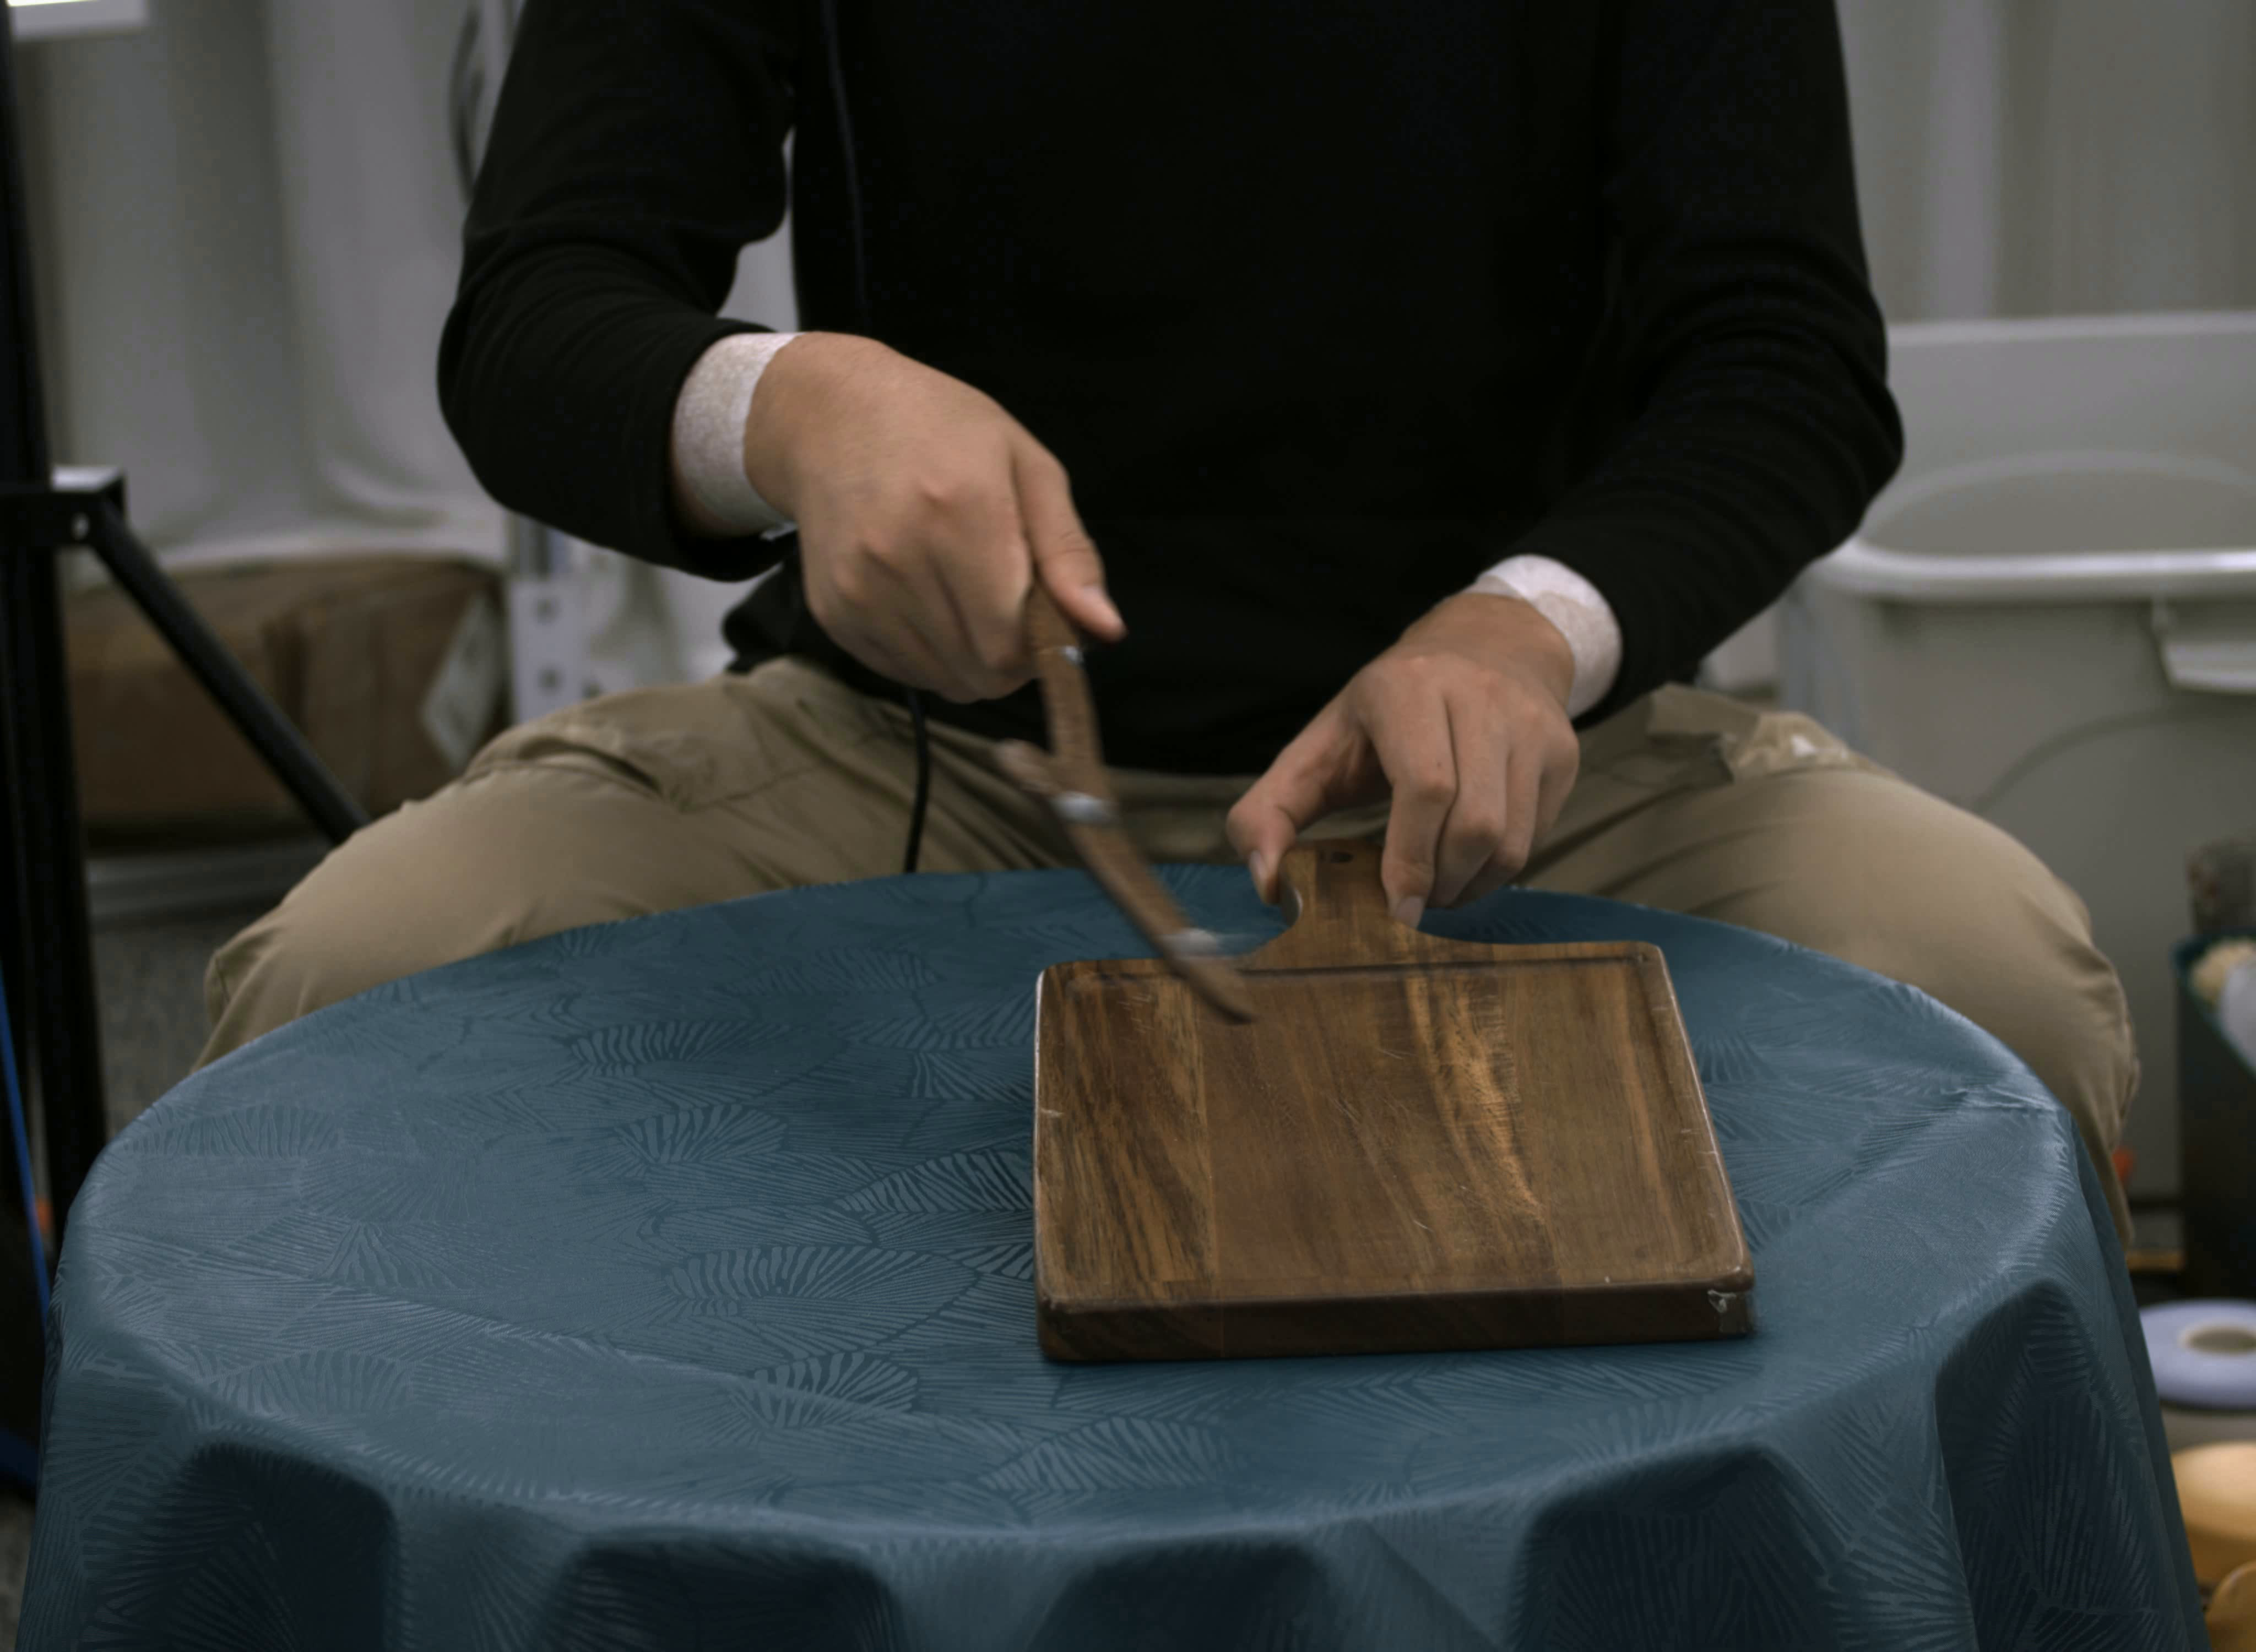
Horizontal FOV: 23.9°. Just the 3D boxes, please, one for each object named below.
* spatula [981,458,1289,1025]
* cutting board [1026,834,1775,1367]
[{"bbox_3d":[-0.012,-0.043,1.572,0.016,0.095,0.390,-39,22,8],"label":"spatula"},{"bbox_3d":[0.070,0.073,1.582,0.200,0.023,0.354,-3,20,0],"label":"cutting board"}]
